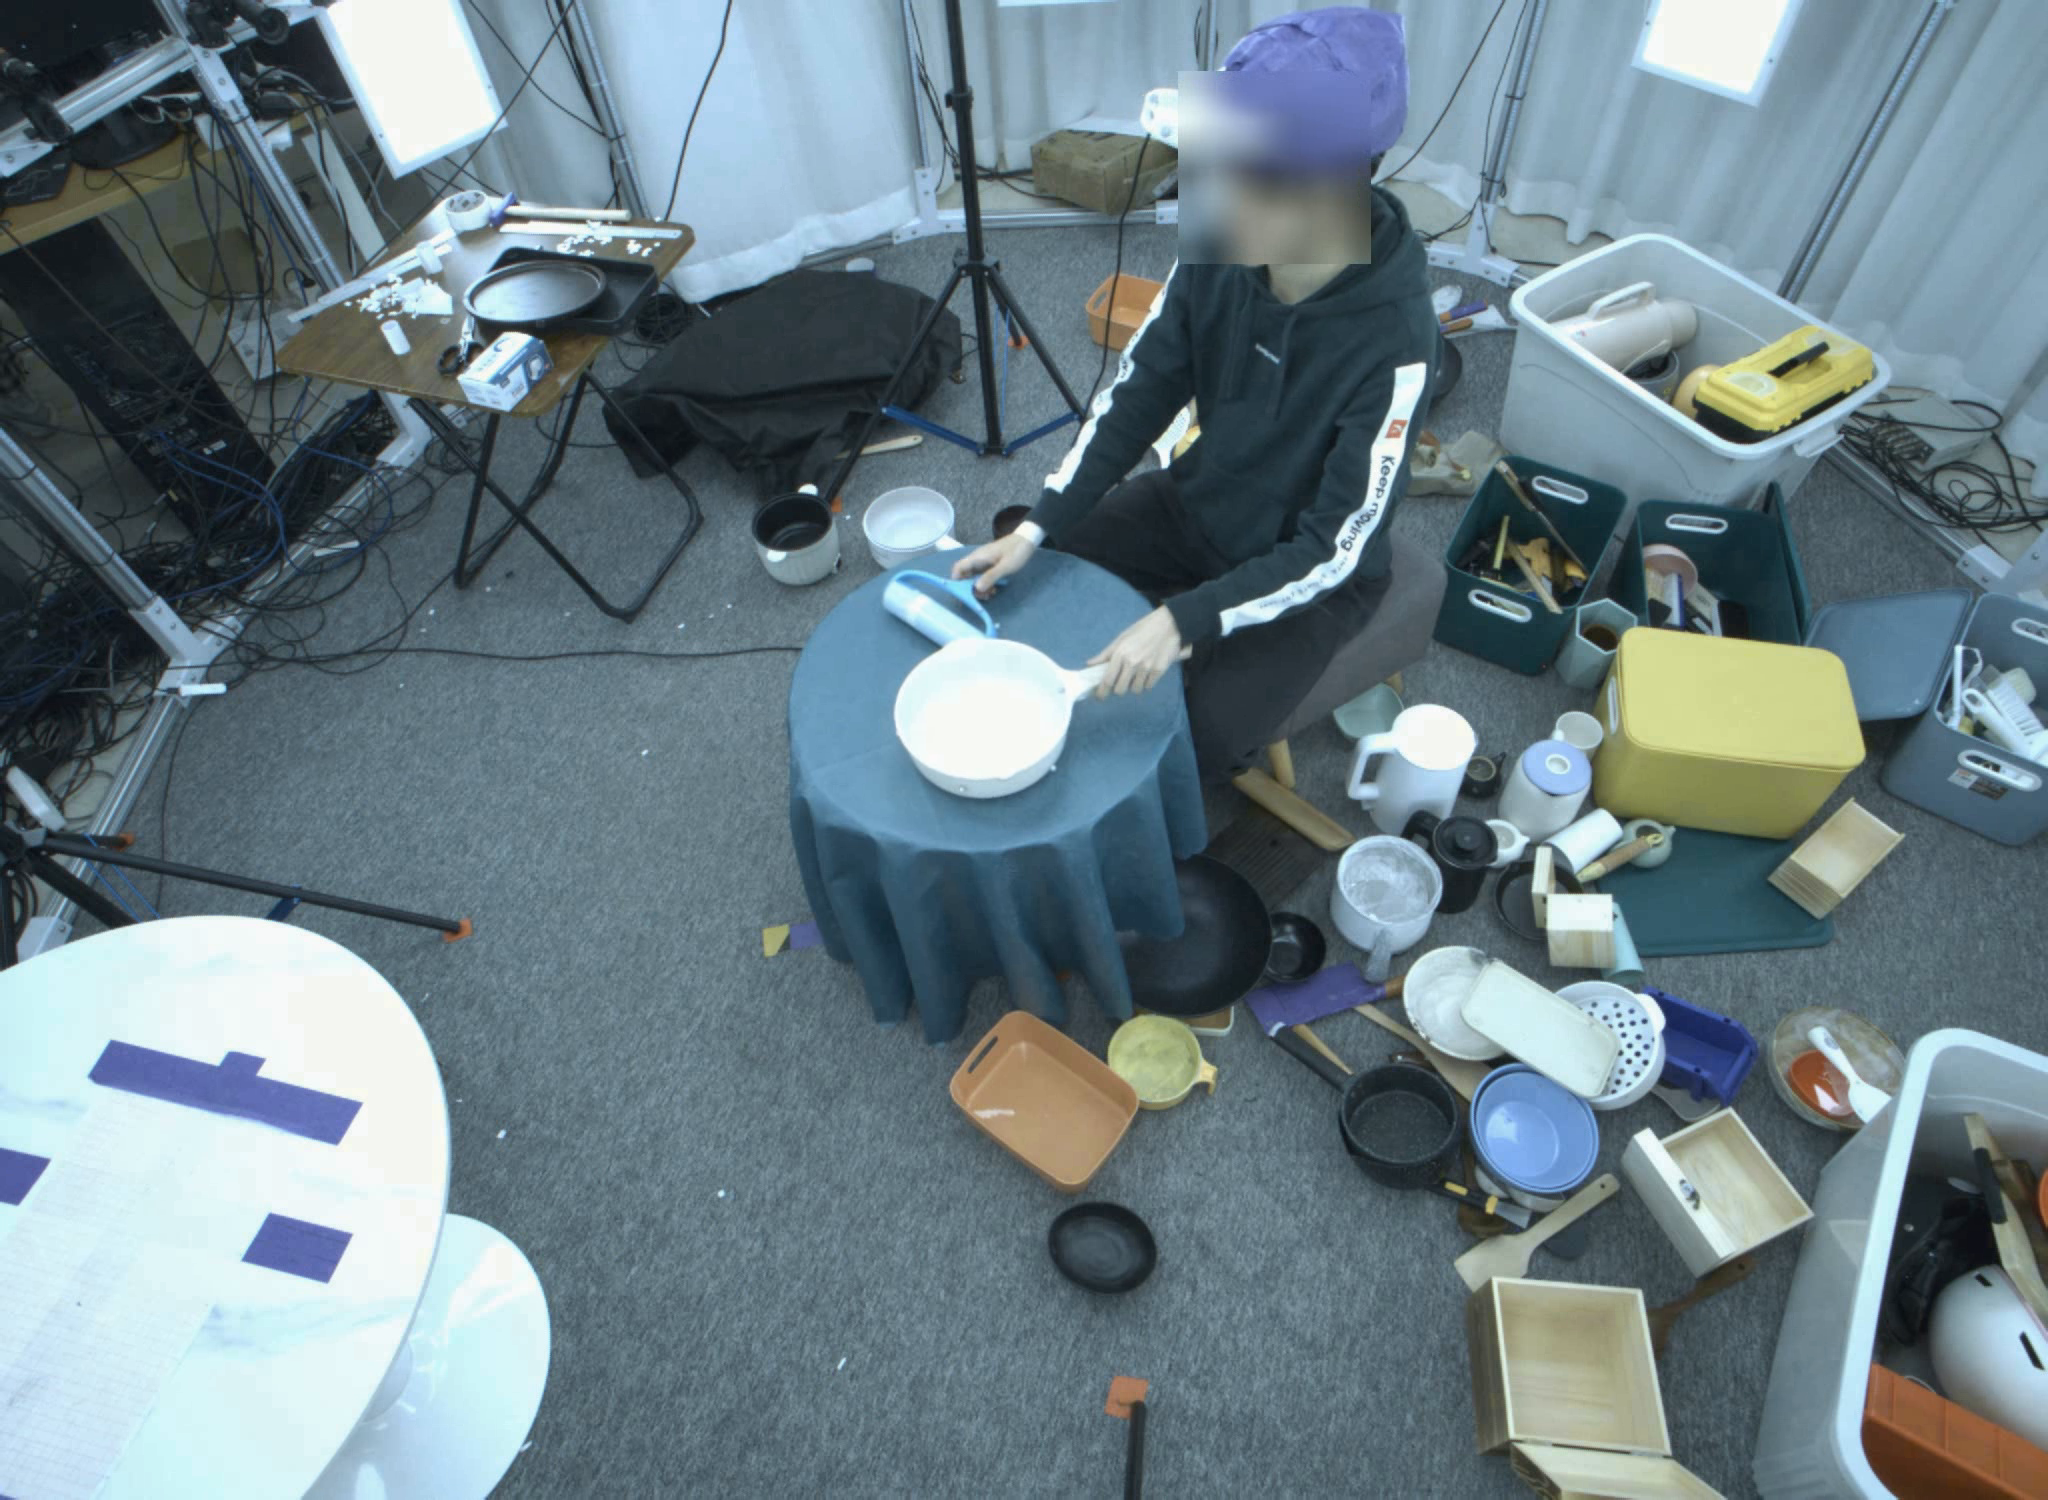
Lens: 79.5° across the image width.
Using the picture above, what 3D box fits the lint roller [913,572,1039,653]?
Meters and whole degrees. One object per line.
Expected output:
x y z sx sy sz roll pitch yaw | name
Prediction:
-0.048 -0.231 1.914 0.225 0.069 0.181 33 64 25 | lint roller

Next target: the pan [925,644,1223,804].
0.076 -0.057 1.759 0.437 0.103 0.259 -14 54 -8 | pan
